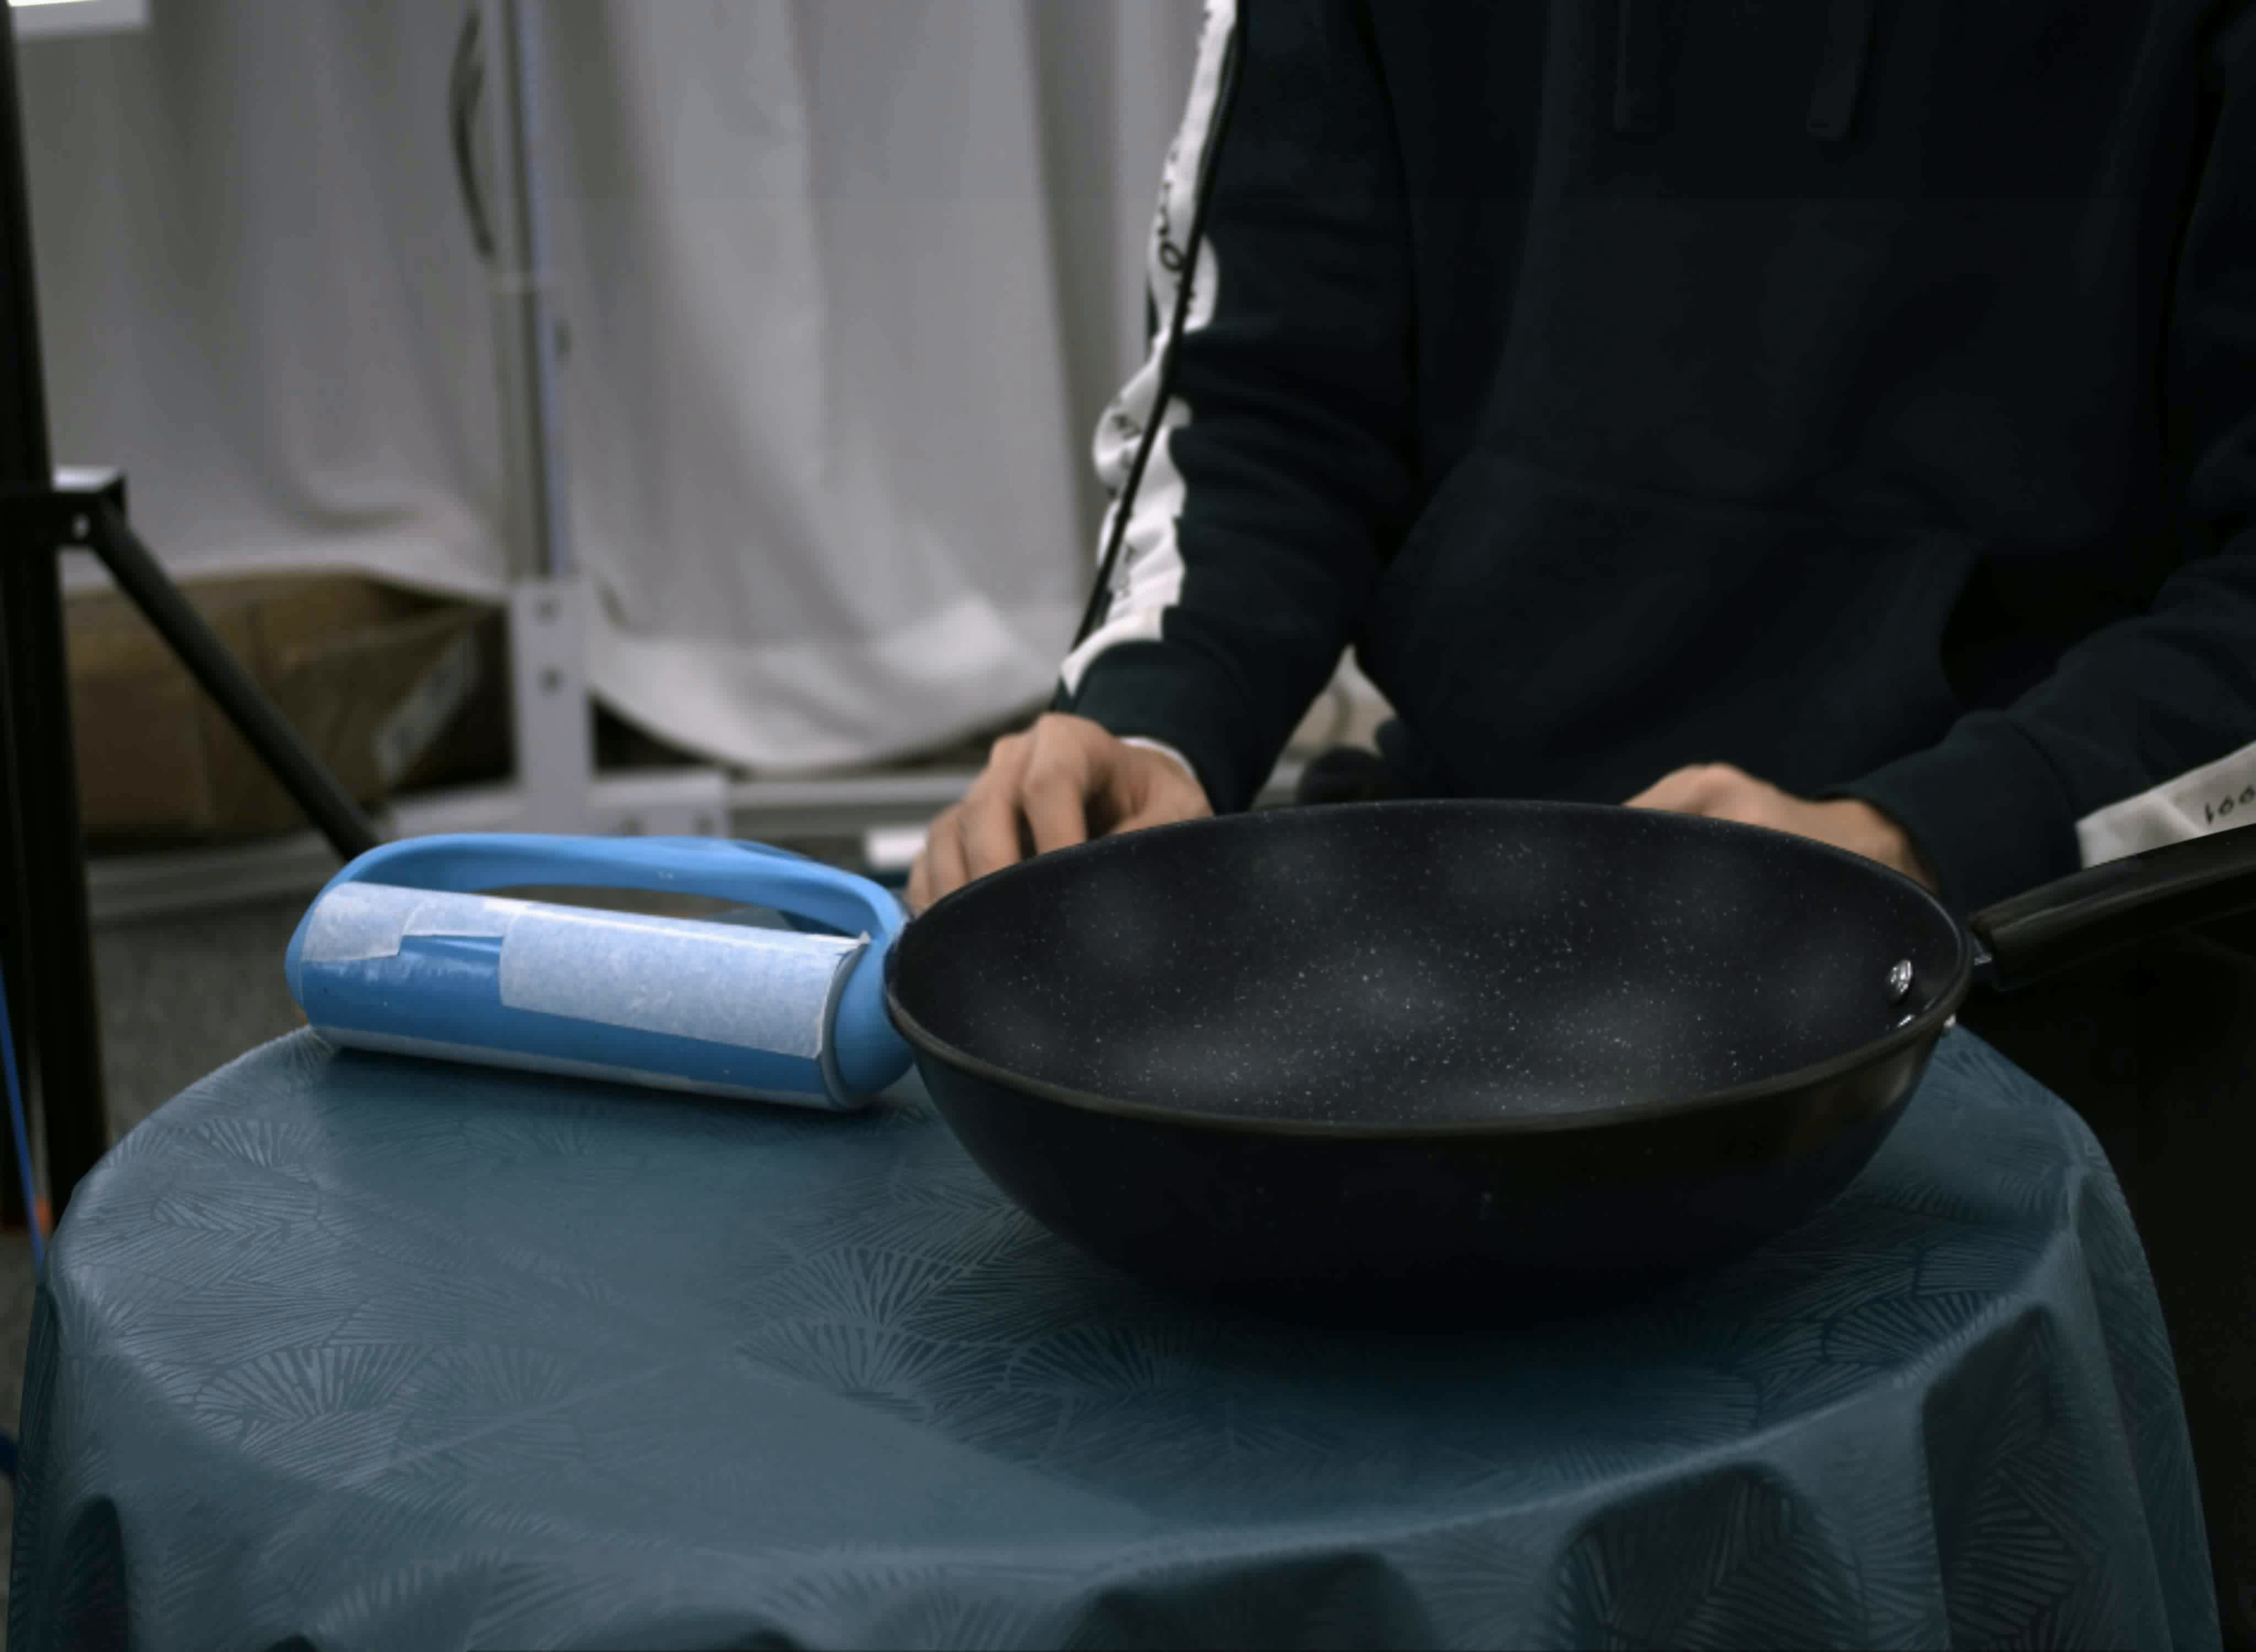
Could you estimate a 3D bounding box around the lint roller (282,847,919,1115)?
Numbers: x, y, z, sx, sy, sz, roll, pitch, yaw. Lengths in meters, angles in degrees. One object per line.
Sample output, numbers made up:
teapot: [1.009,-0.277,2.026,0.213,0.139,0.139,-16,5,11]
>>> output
lint roller: [-0.144,0.037,1.730,0.232,0.068,0.178,2,18,25]

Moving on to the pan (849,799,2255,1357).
pan: [0.159,0.061,1.502,0.473,0.111,0.313,-4,18,-3]
